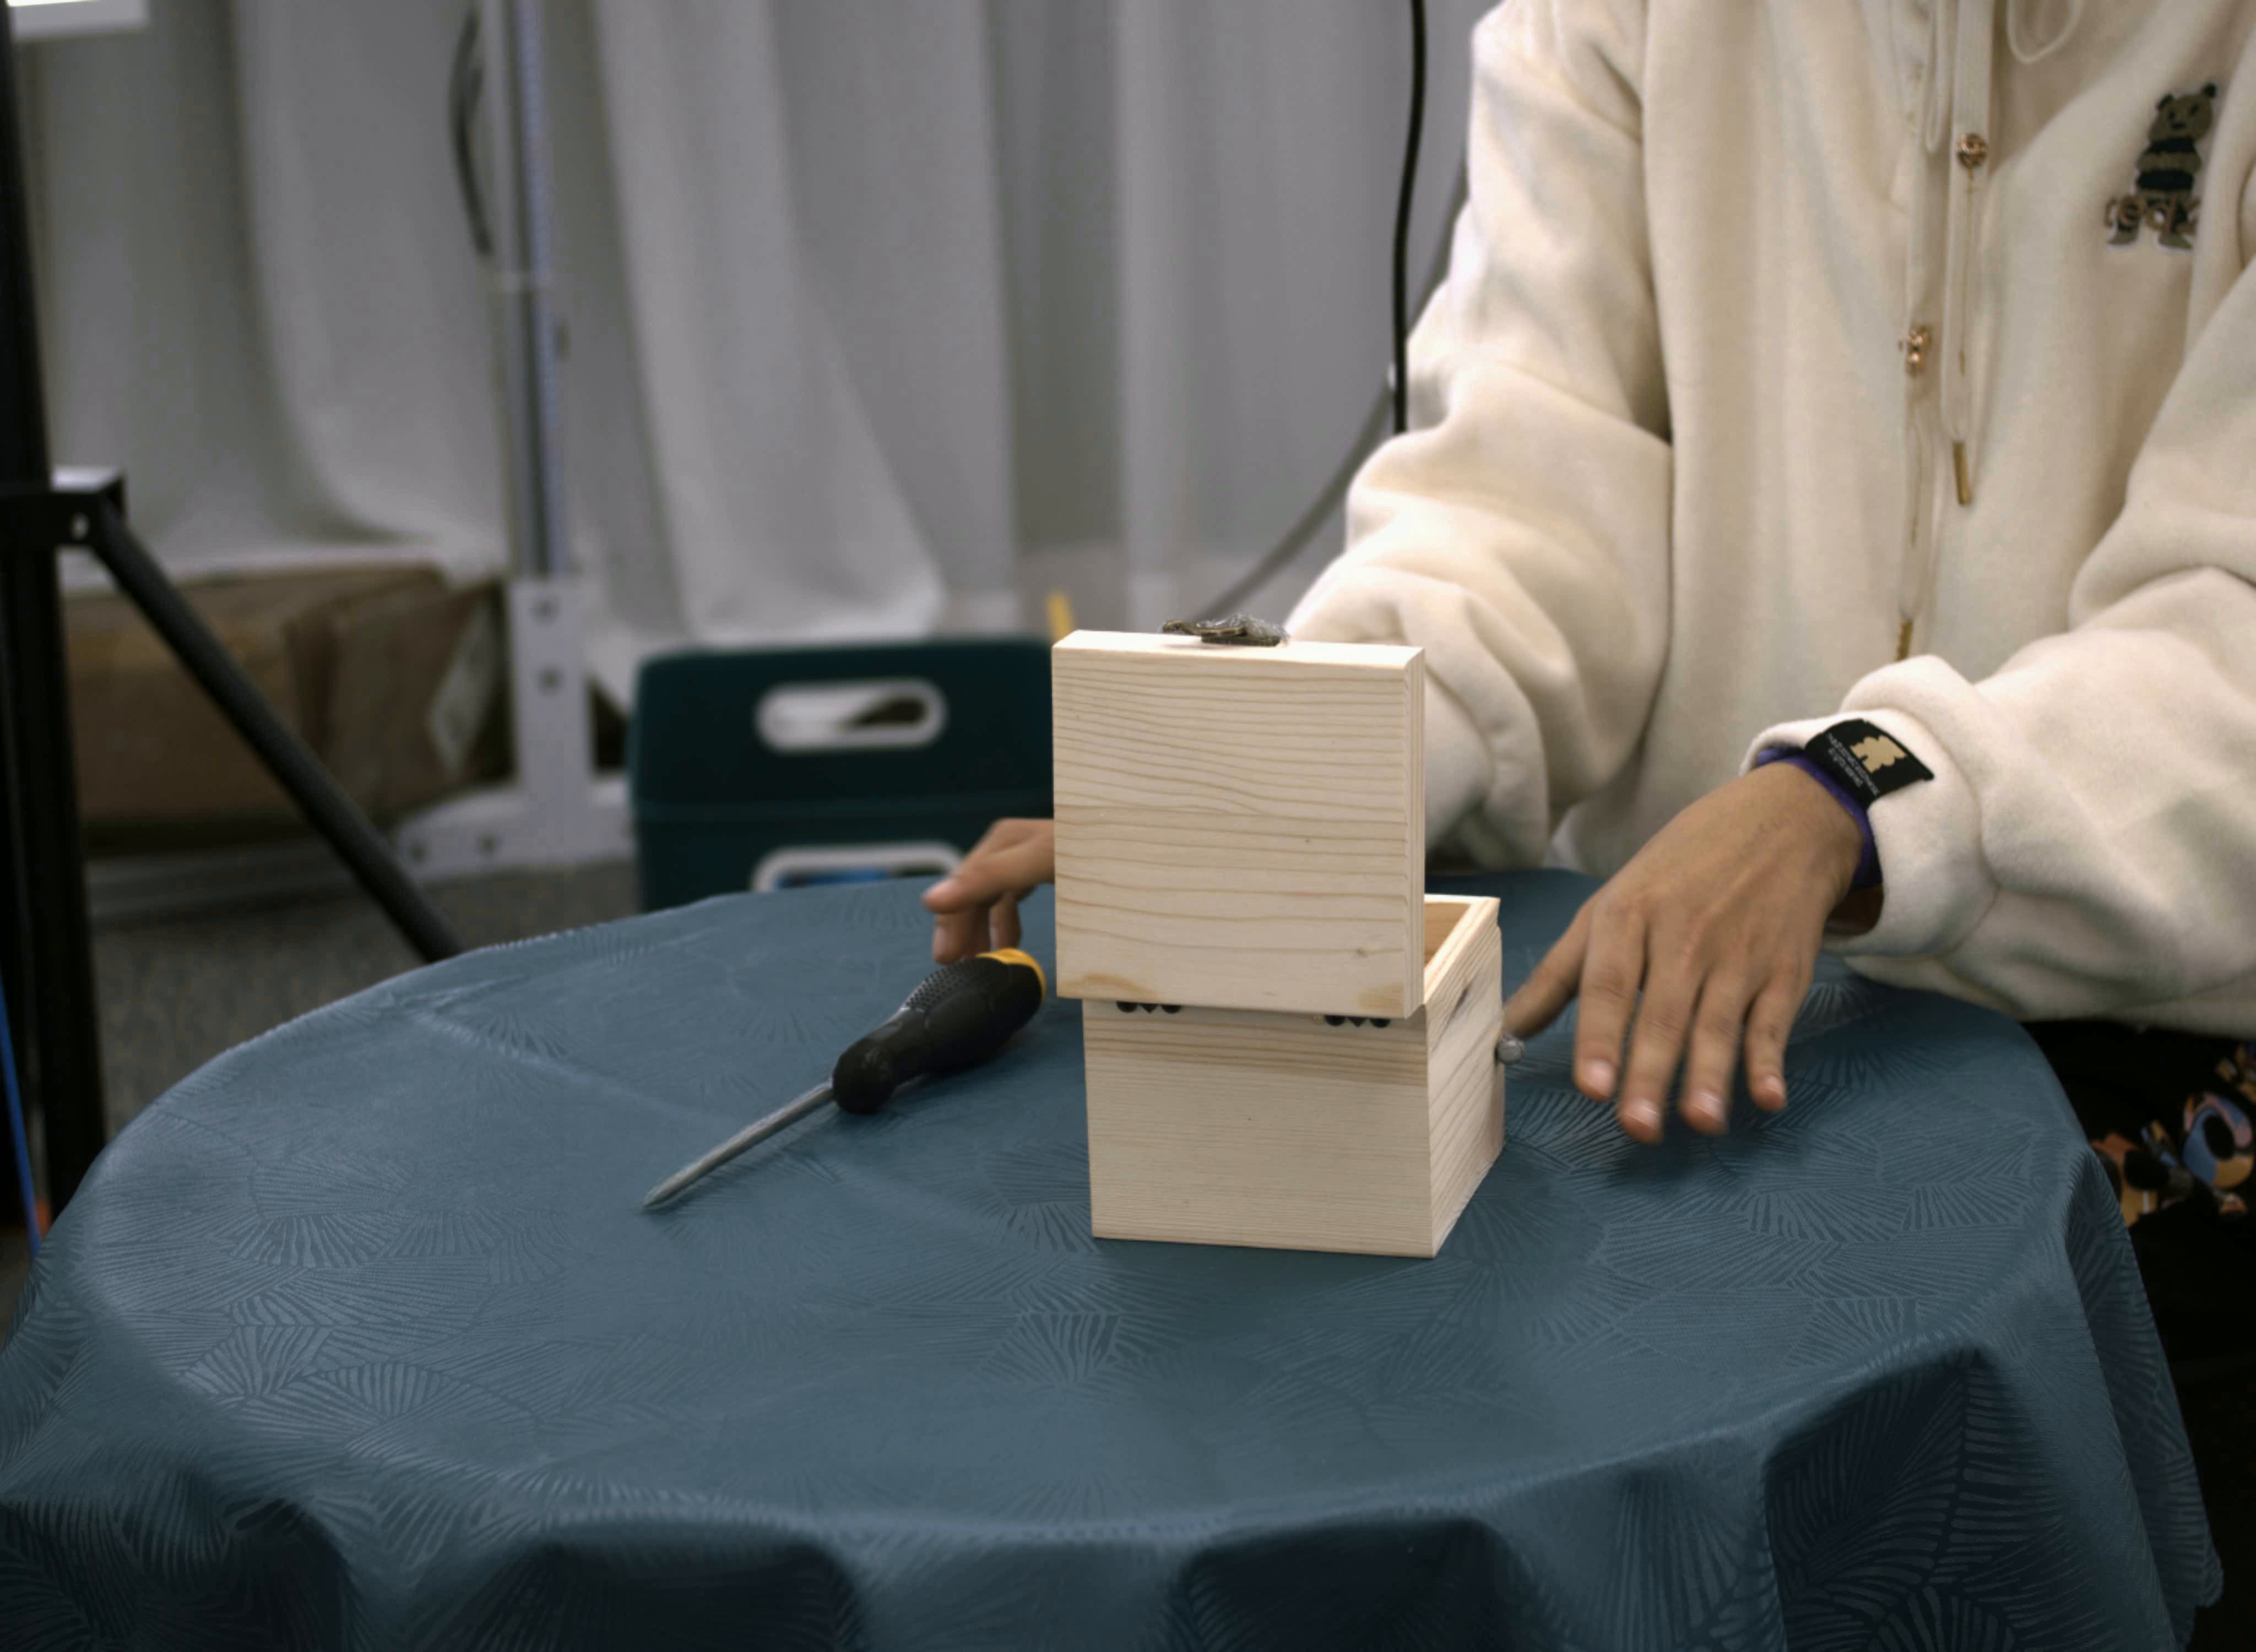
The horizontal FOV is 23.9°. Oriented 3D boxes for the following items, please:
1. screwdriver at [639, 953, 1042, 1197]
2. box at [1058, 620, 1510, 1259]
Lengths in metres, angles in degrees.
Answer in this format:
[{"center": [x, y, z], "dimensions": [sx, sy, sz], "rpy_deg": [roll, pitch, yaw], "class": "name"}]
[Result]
[{"center": [-0.090, 0.078, 1.637], "dimensions": [0.032, 0.031, 0.194], "rpy_deg": [10, 22, 36], "class": "screwdriver"}, {"center": [0.048, 0.021, 1.518], "dimensions": [0.103, 0.184, 0.133], "rpy_deg": [2, 16, 16], "class": "box"}]
